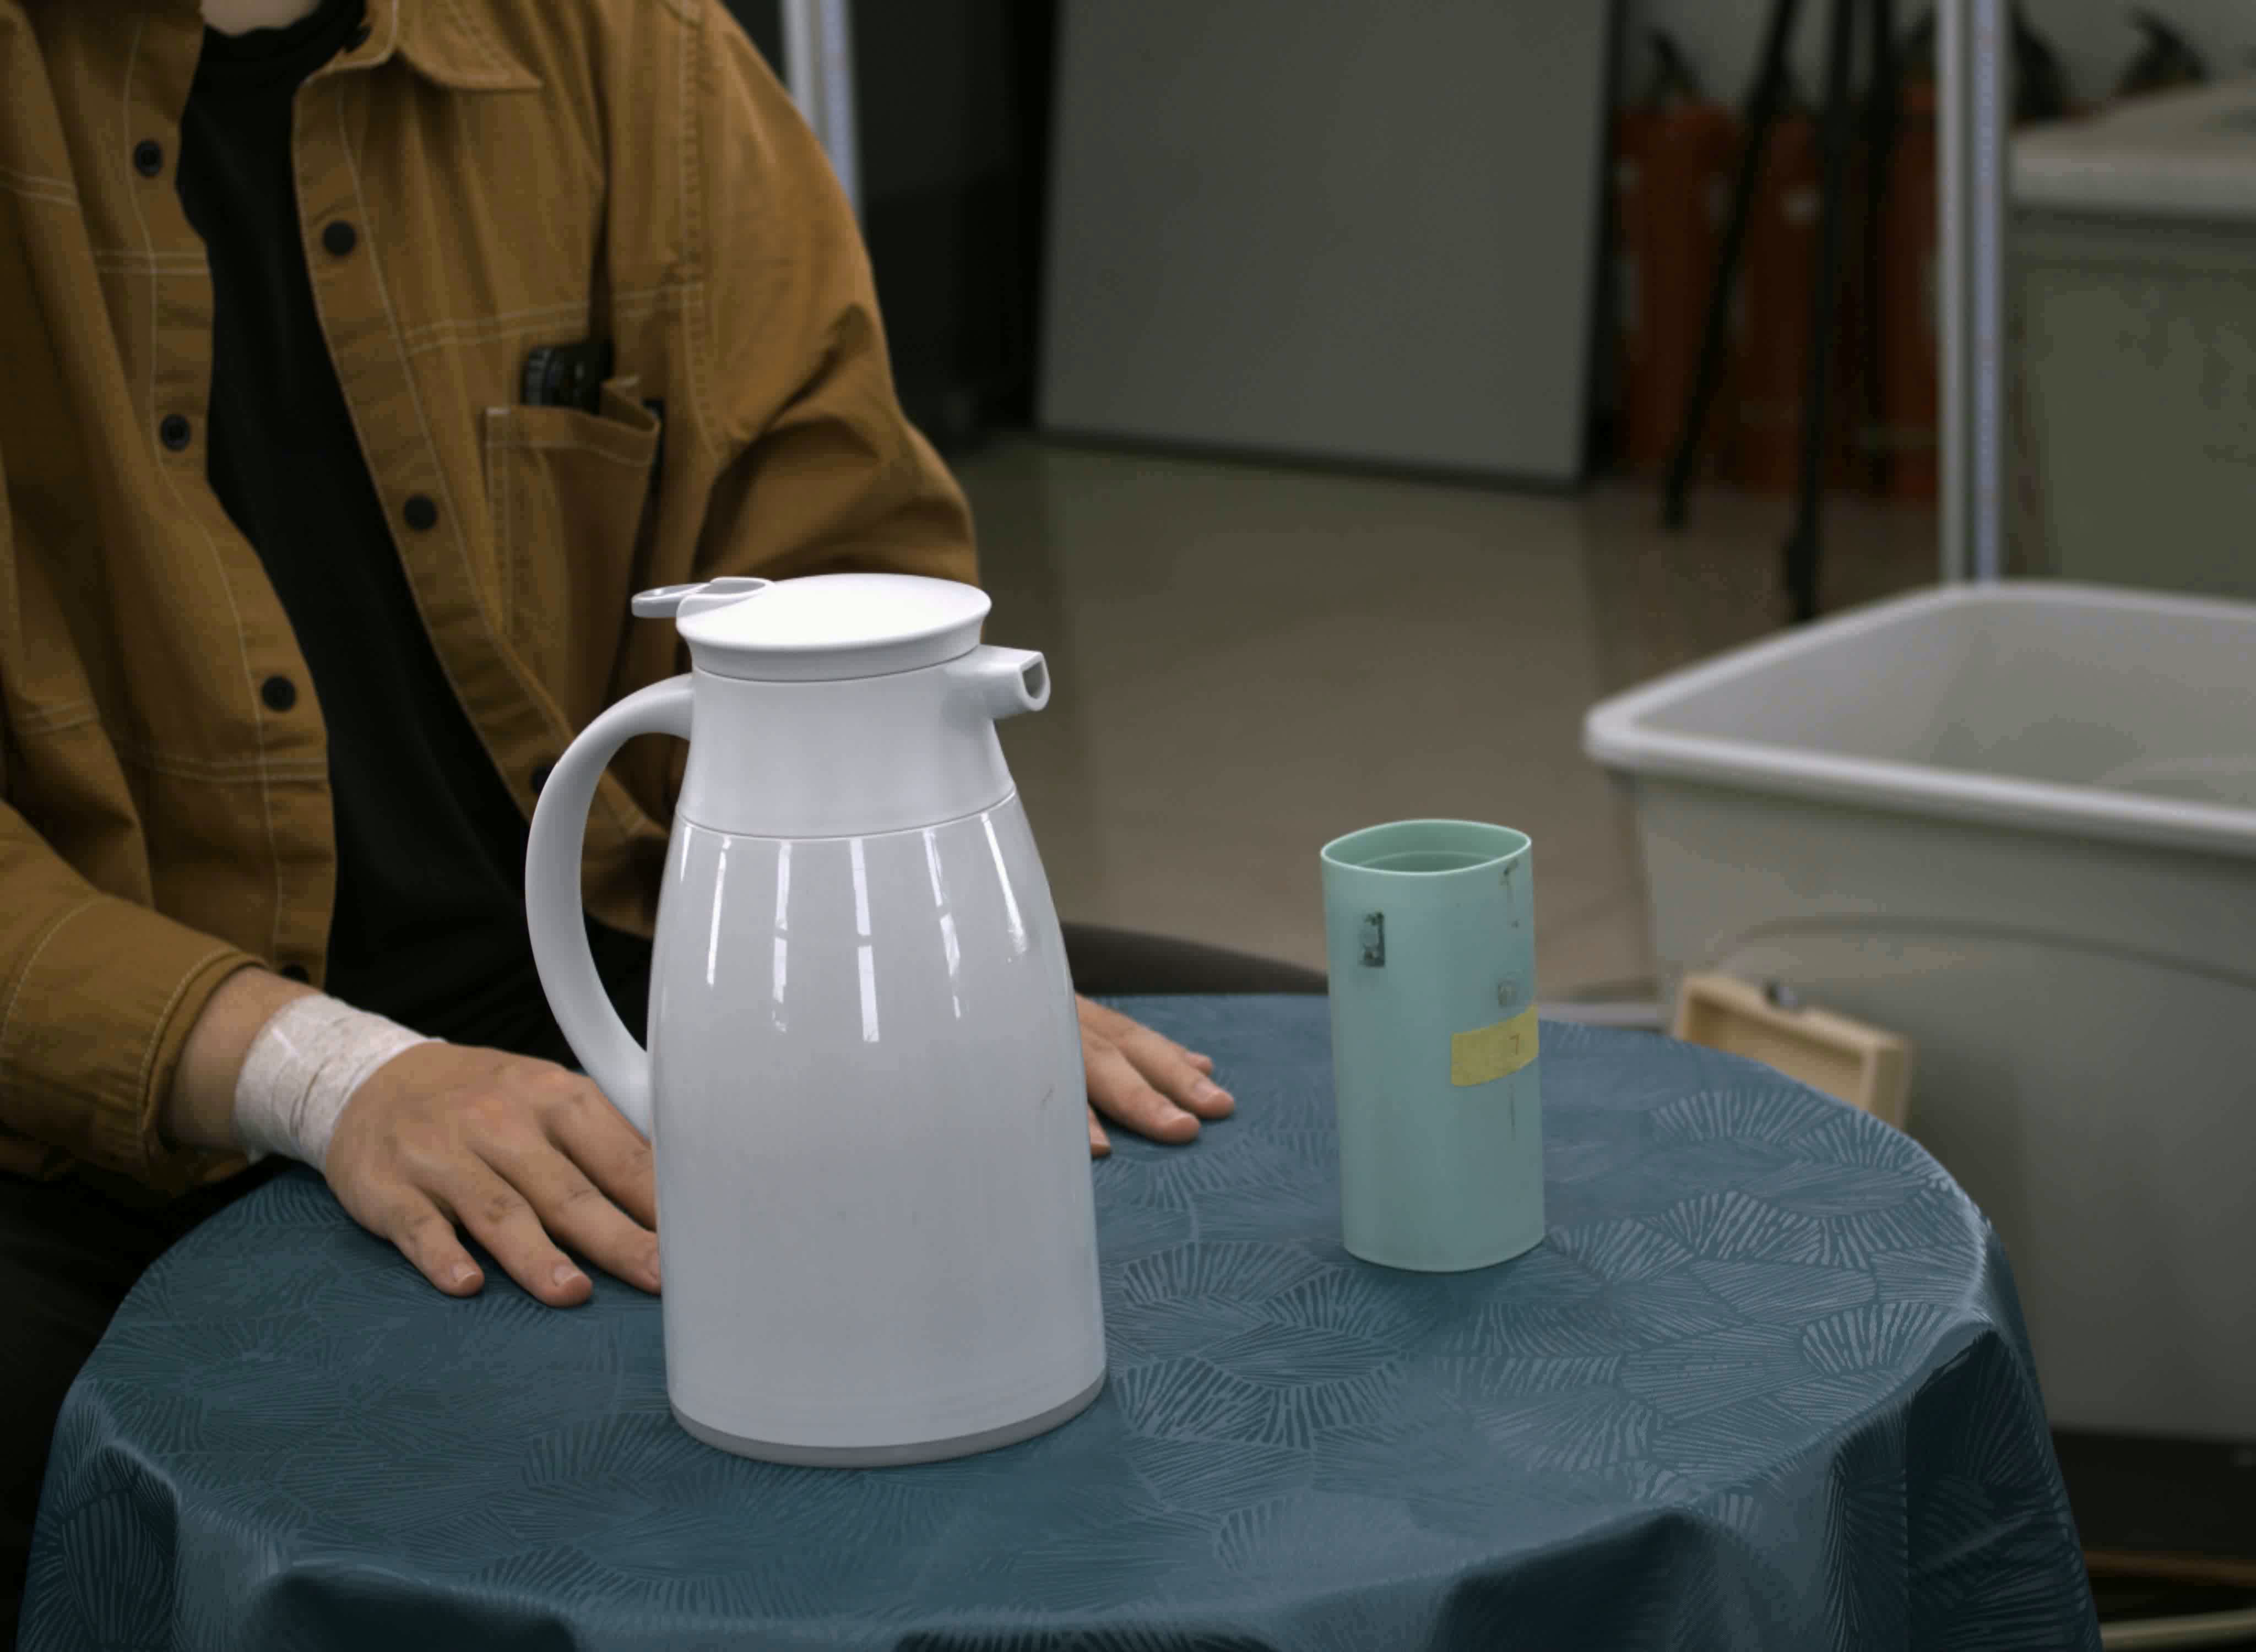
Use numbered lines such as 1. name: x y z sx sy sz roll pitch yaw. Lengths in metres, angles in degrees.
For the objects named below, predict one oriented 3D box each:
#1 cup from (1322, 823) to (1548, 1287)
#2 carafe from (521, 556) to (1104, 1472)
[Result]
1. cup: 0.096 0.071 1.688 0.066 0.134 0.067 -4 13 0
2. carafe: -0.097 0.048 1.582 0.167 0.251 0.131 1 14 21
